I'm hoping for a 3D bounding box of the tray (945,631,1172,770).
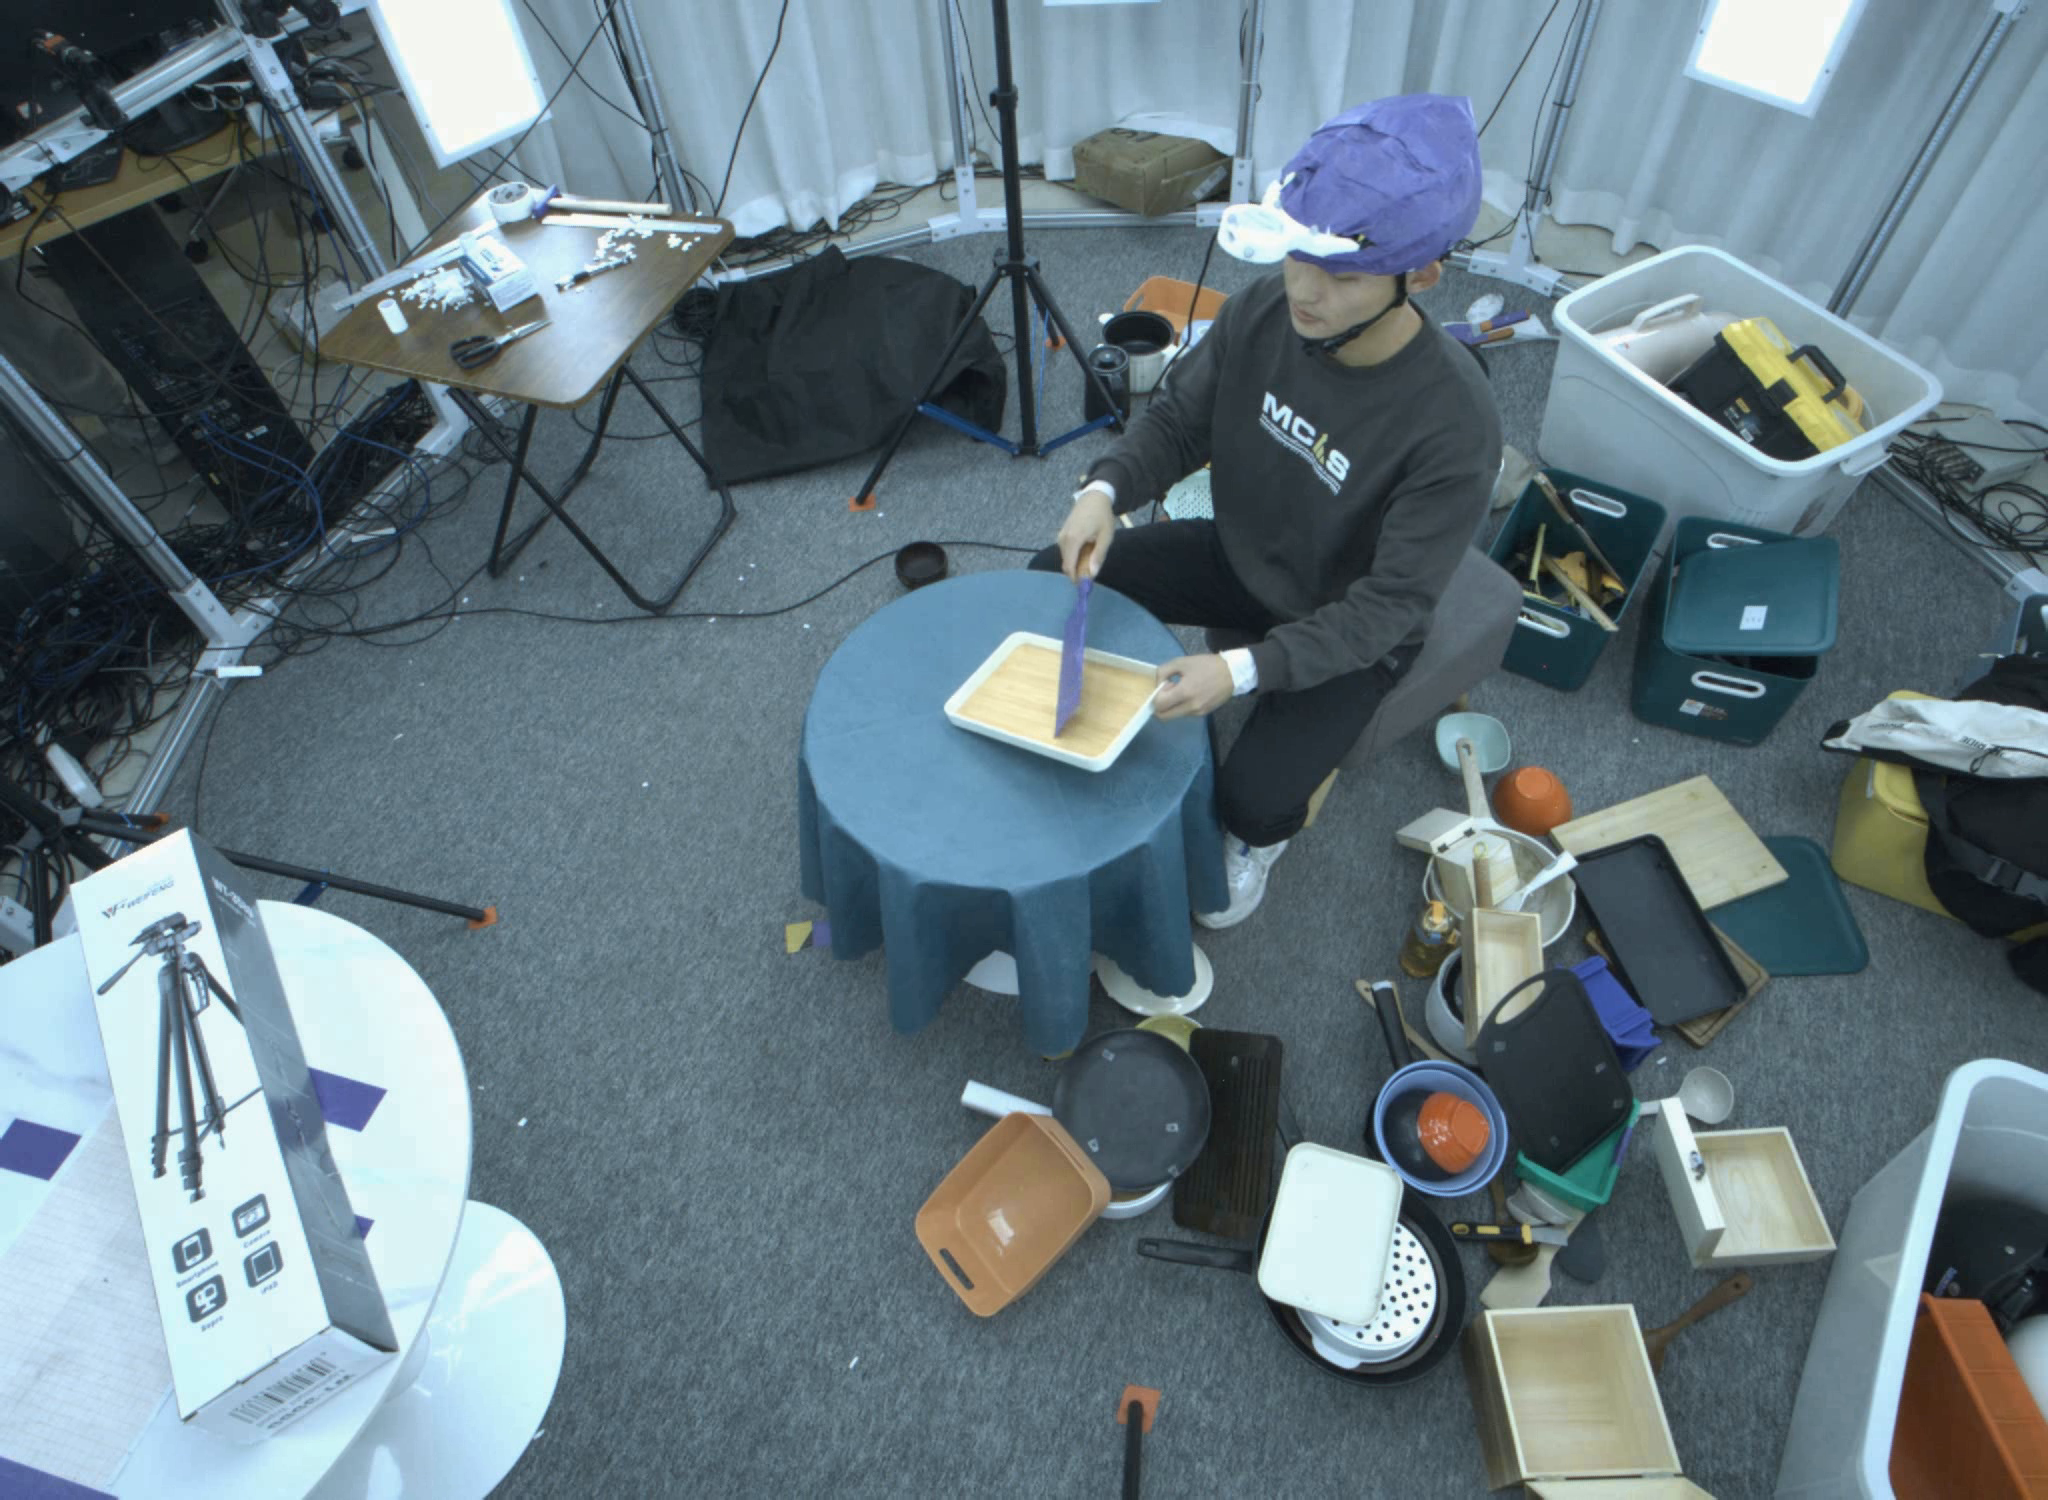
[{"bbox_3d":[0.047,-0.077,1.778,0.293,0.028,0.192,19,56,36],"label":"tray"}]

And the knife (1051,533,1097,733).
[{"bbox_3d":[0.067,-0.172,1.771,0.032,0.103,0.313,17,56,-15],"label":"knife"}]
